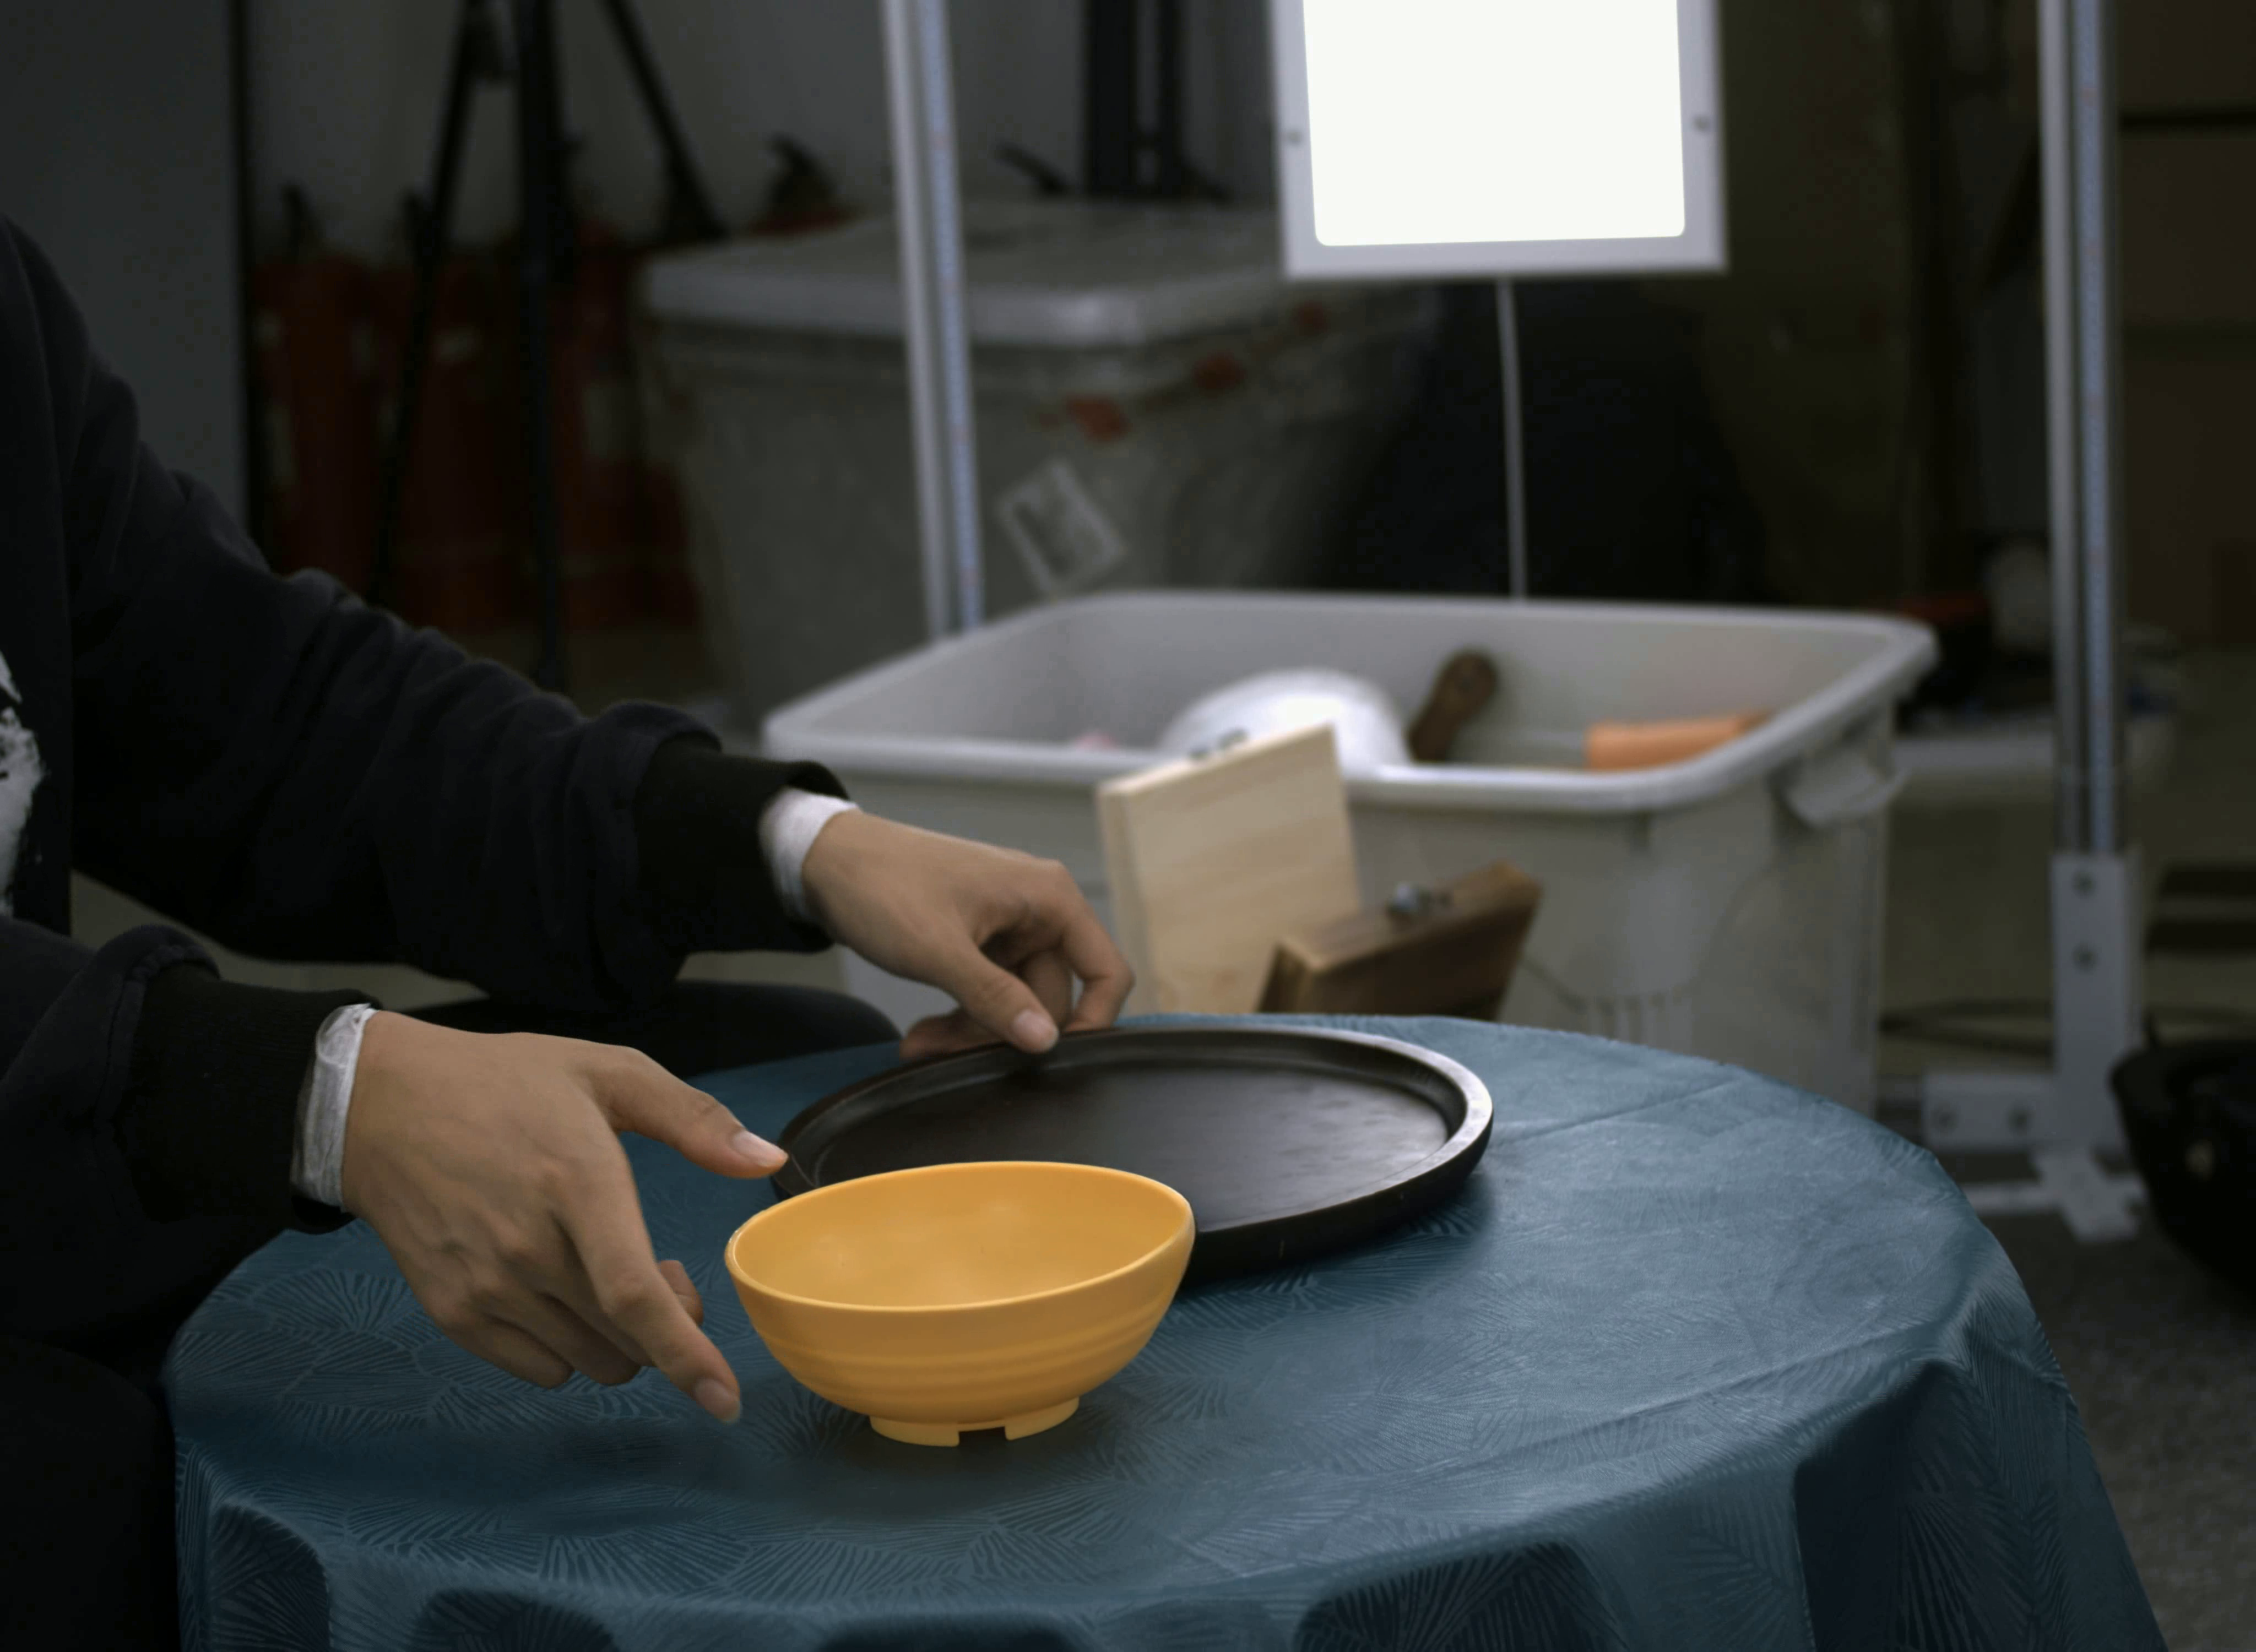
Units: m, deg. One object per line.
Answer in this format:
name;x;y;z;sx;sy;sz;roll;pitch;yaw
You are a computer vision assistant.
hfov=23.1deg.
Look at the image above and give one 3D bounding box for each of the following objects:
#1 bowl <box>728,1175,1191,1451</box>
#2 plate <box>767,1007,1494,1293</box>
bowl;-0.048;0.153;1.689;0.145;0.060;0.145;-6;11;0
plate;0.002;0.113;1.905;0.254;0.029;0.254;-6;15;0
